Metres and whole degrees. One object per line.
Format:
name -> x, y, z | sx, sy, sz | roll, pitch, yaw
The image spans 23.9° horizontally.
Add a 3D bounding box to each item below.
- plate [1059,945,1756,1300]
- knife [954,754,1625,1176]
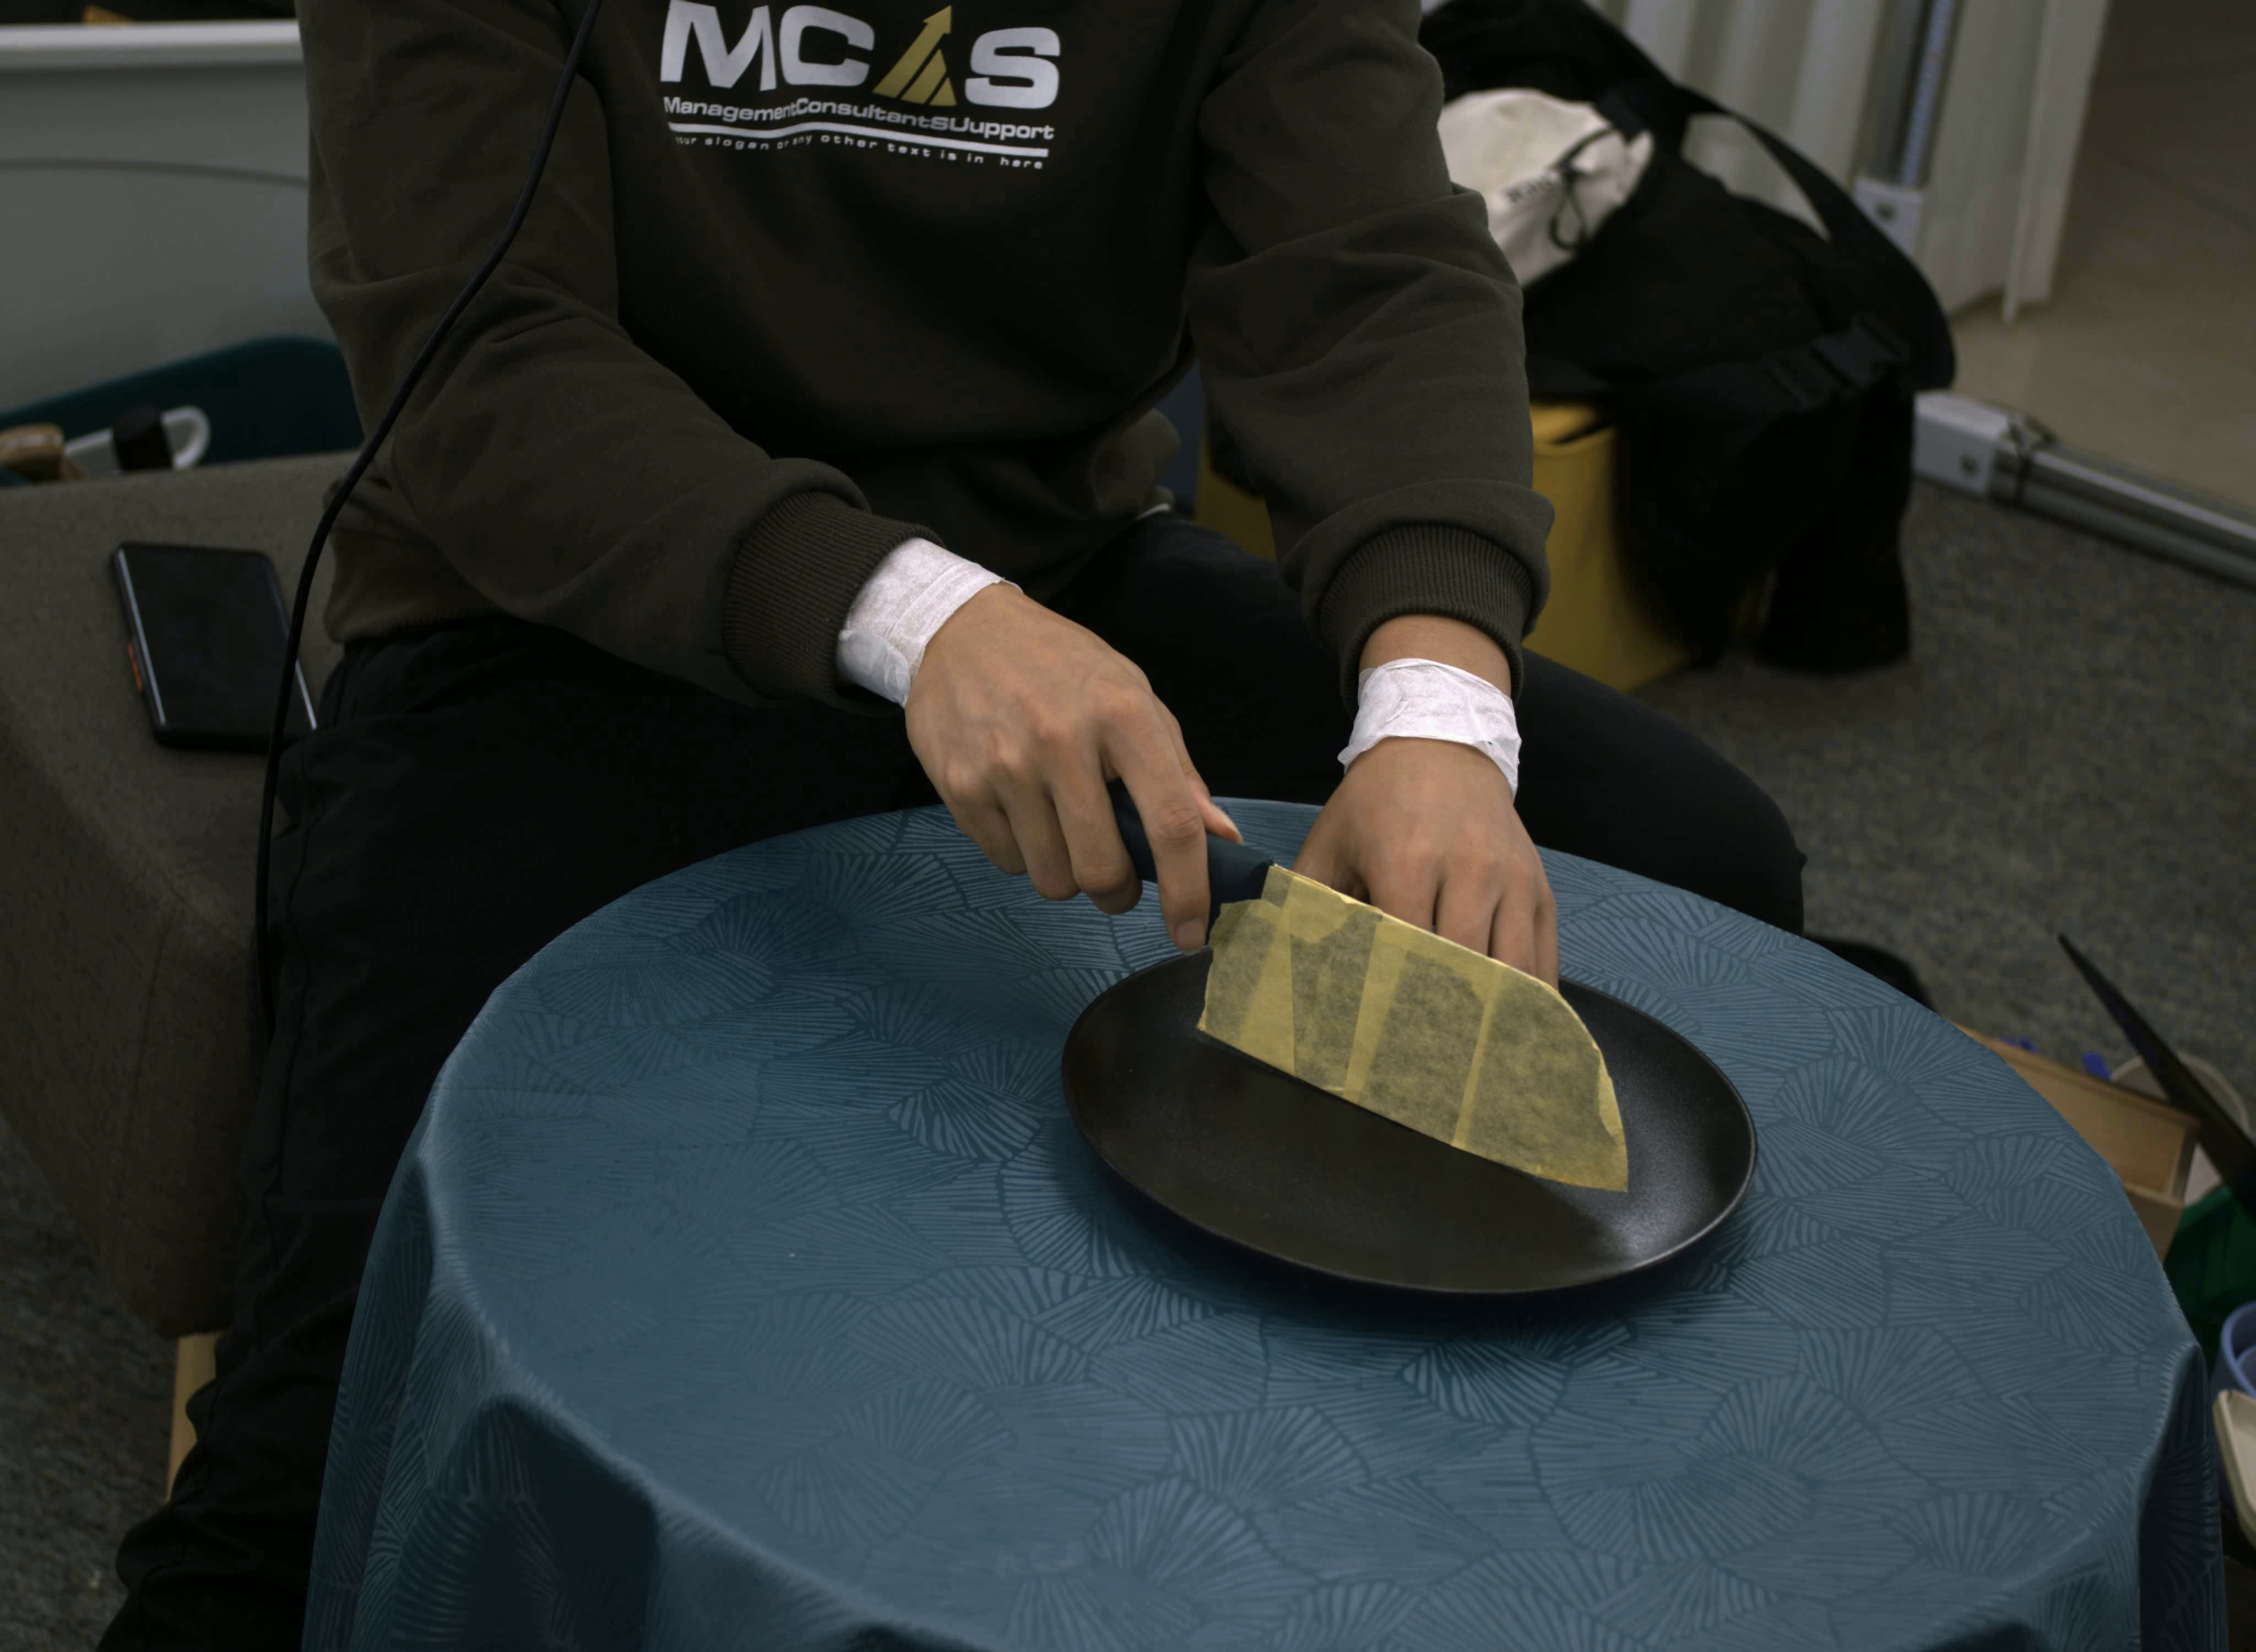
plate -> 0.095, 0.104, 1.840 | 0.243, 0.023, 0.246 | 5, 27, -3
knife -> 0.053, 0.047, 1.862 | 0.291, 0.081, 0.027 | 27, 25, 27
